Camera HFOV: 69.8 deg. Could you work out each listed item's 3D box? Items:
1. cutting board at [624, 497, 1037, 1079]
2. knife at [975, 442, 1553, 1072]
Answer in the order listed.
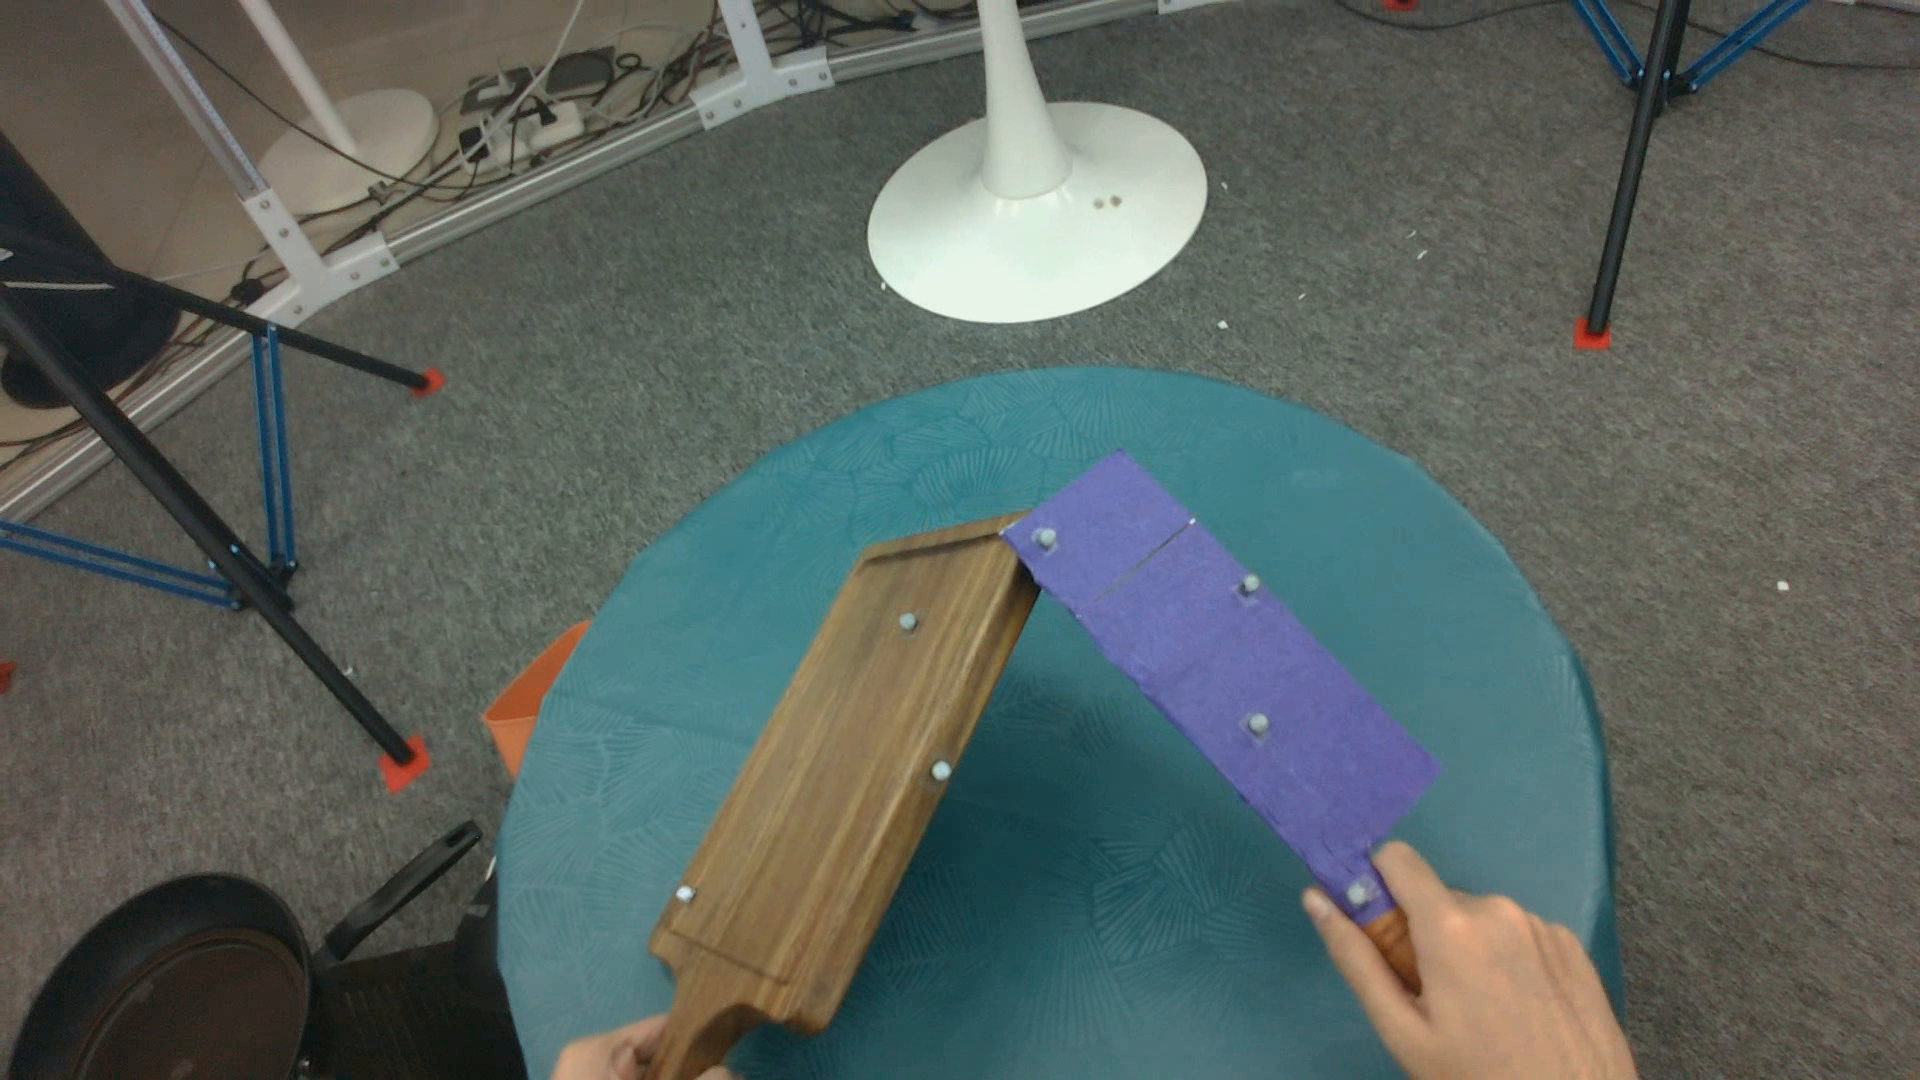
[{"bbox_3d":[-0.083,0.137,0.661,0.200,0.023,0.353,-11,48,58],"label":"cutting board"},{"bbox_3d":[0.144,0.077,0.600,0.104,0.032,0.315,-35,75,-32],"label":"knife"}]
